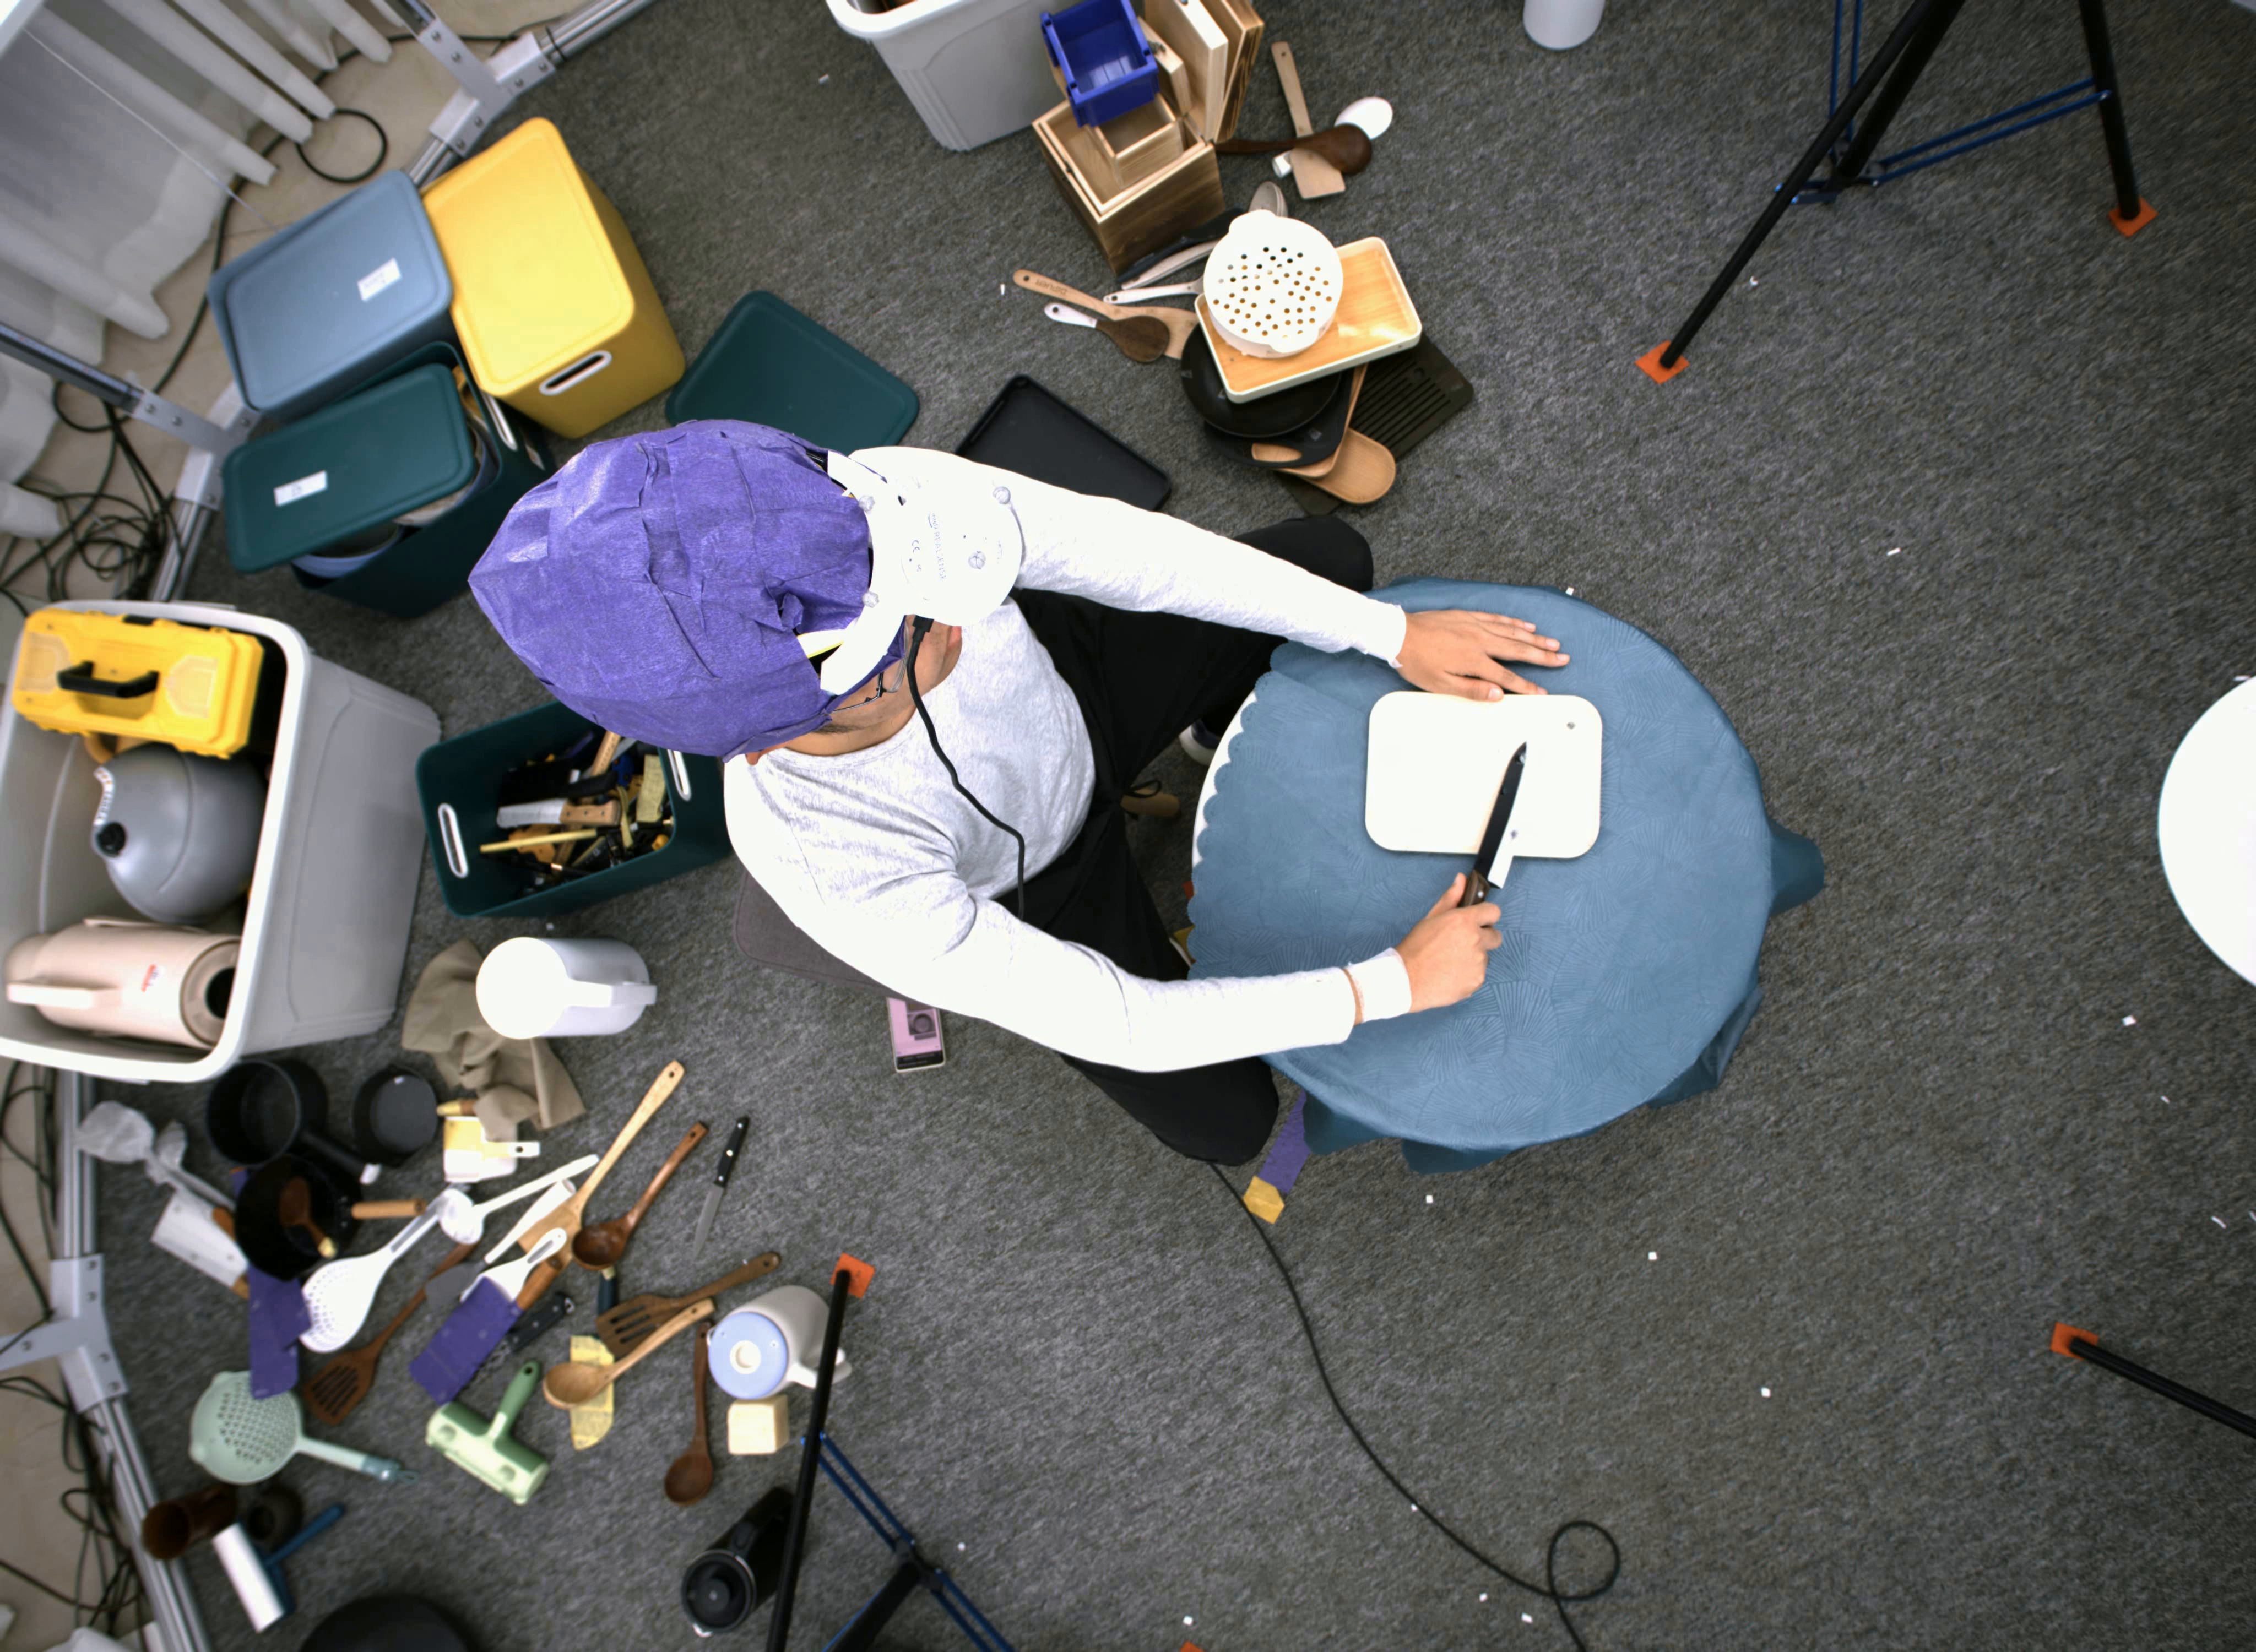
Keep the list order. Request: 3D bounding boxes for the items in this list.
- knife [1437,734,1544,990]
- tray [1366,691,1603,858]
[{"bbox_3d":[0.370,0.032,1.392,0.050,0.020,0.287,27,81,-29],"label":"knife"},{"bbox_3d":[0.372,-0.057,1.439,0.240,0.017,0.170,3,87,11],"label":"tray"}]
